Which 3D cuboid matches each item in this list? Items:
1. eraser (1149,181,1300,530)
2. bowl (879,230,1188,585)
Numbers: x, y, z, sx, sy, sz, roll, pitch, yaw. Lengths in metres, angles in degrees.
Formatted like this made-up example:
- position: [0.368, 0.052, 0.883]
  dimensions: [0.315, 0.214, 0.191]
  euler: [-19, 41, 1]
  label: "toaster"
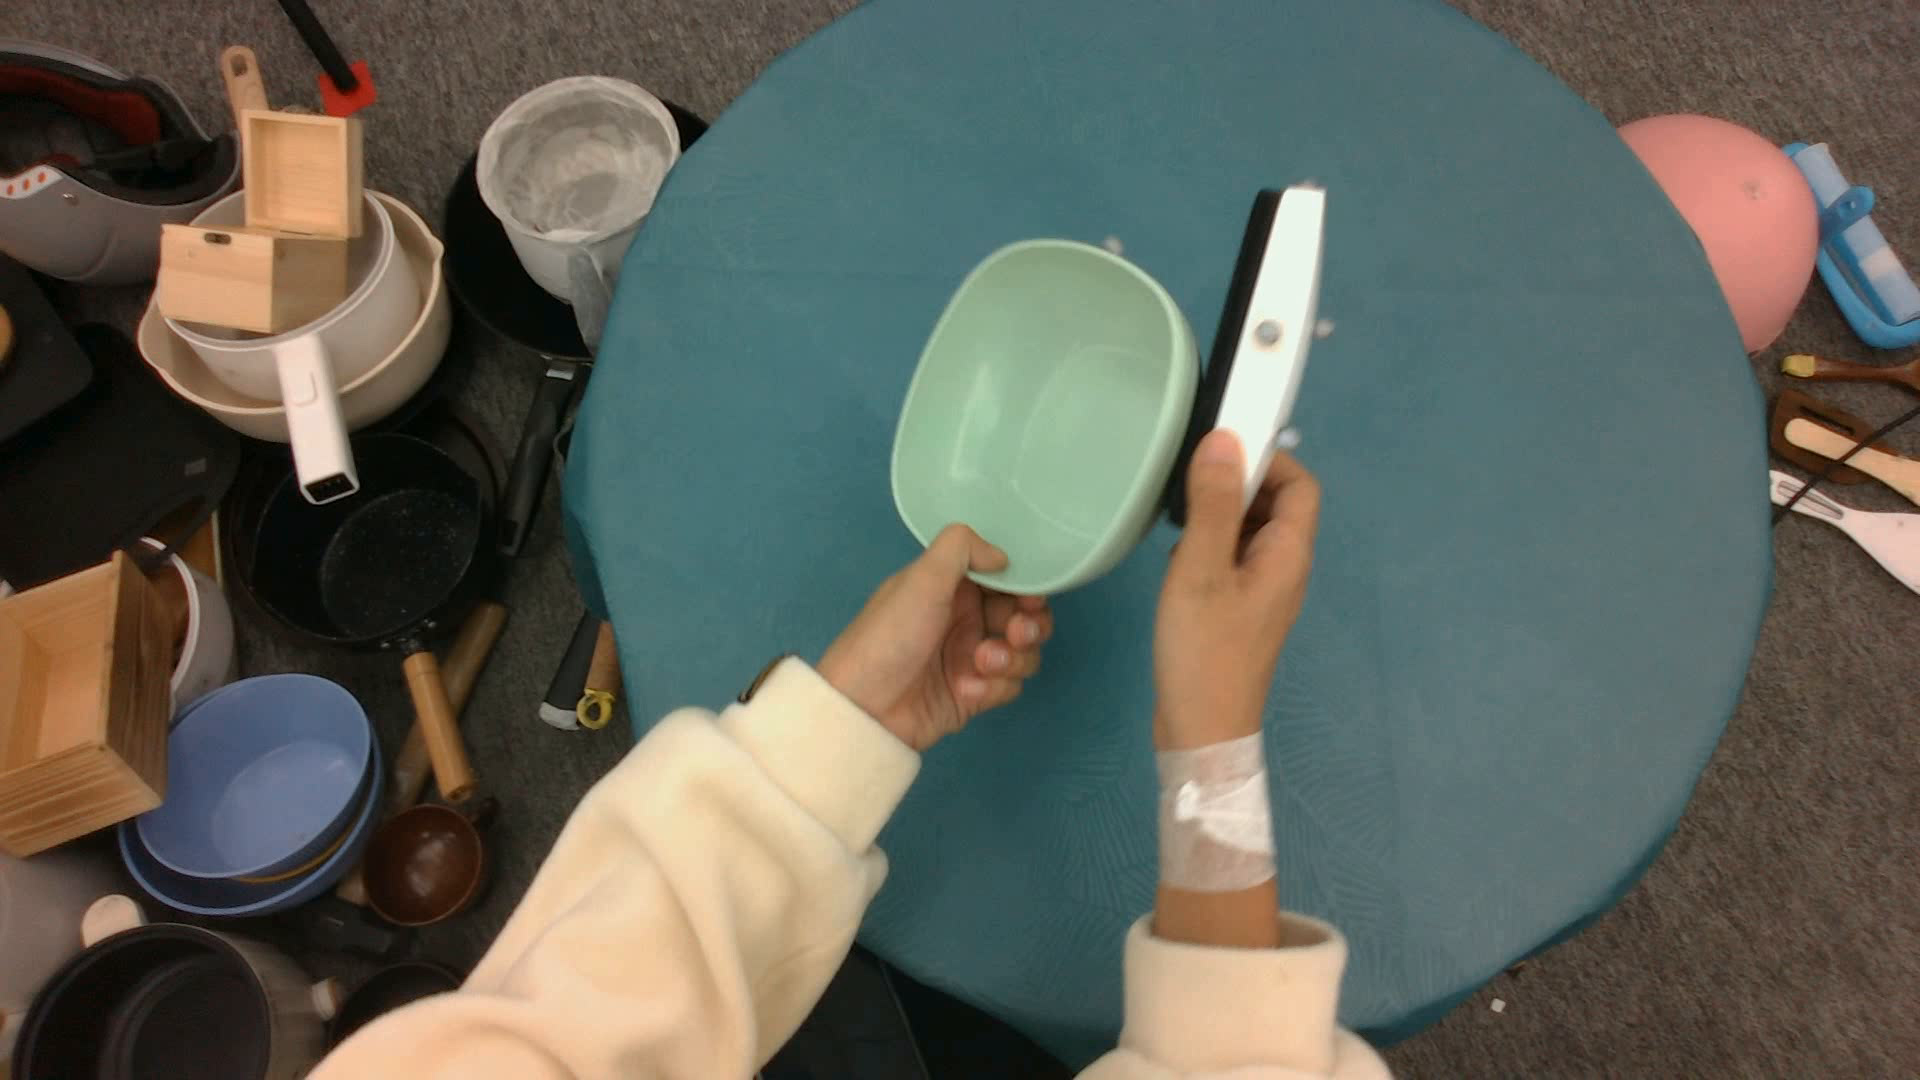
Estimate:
- position: [0.105, -0.069, 0.525]
  dimensions: [0.034, 0.063, 0.131]
  euler: [15, 92, 14]
  label: "eraser"
- position: [0.038, -0.048, 0.553]
  dimensions: [0.059, 0.151, 0.152]
  euler: [19, 66, -41]
  label: "bowl"
